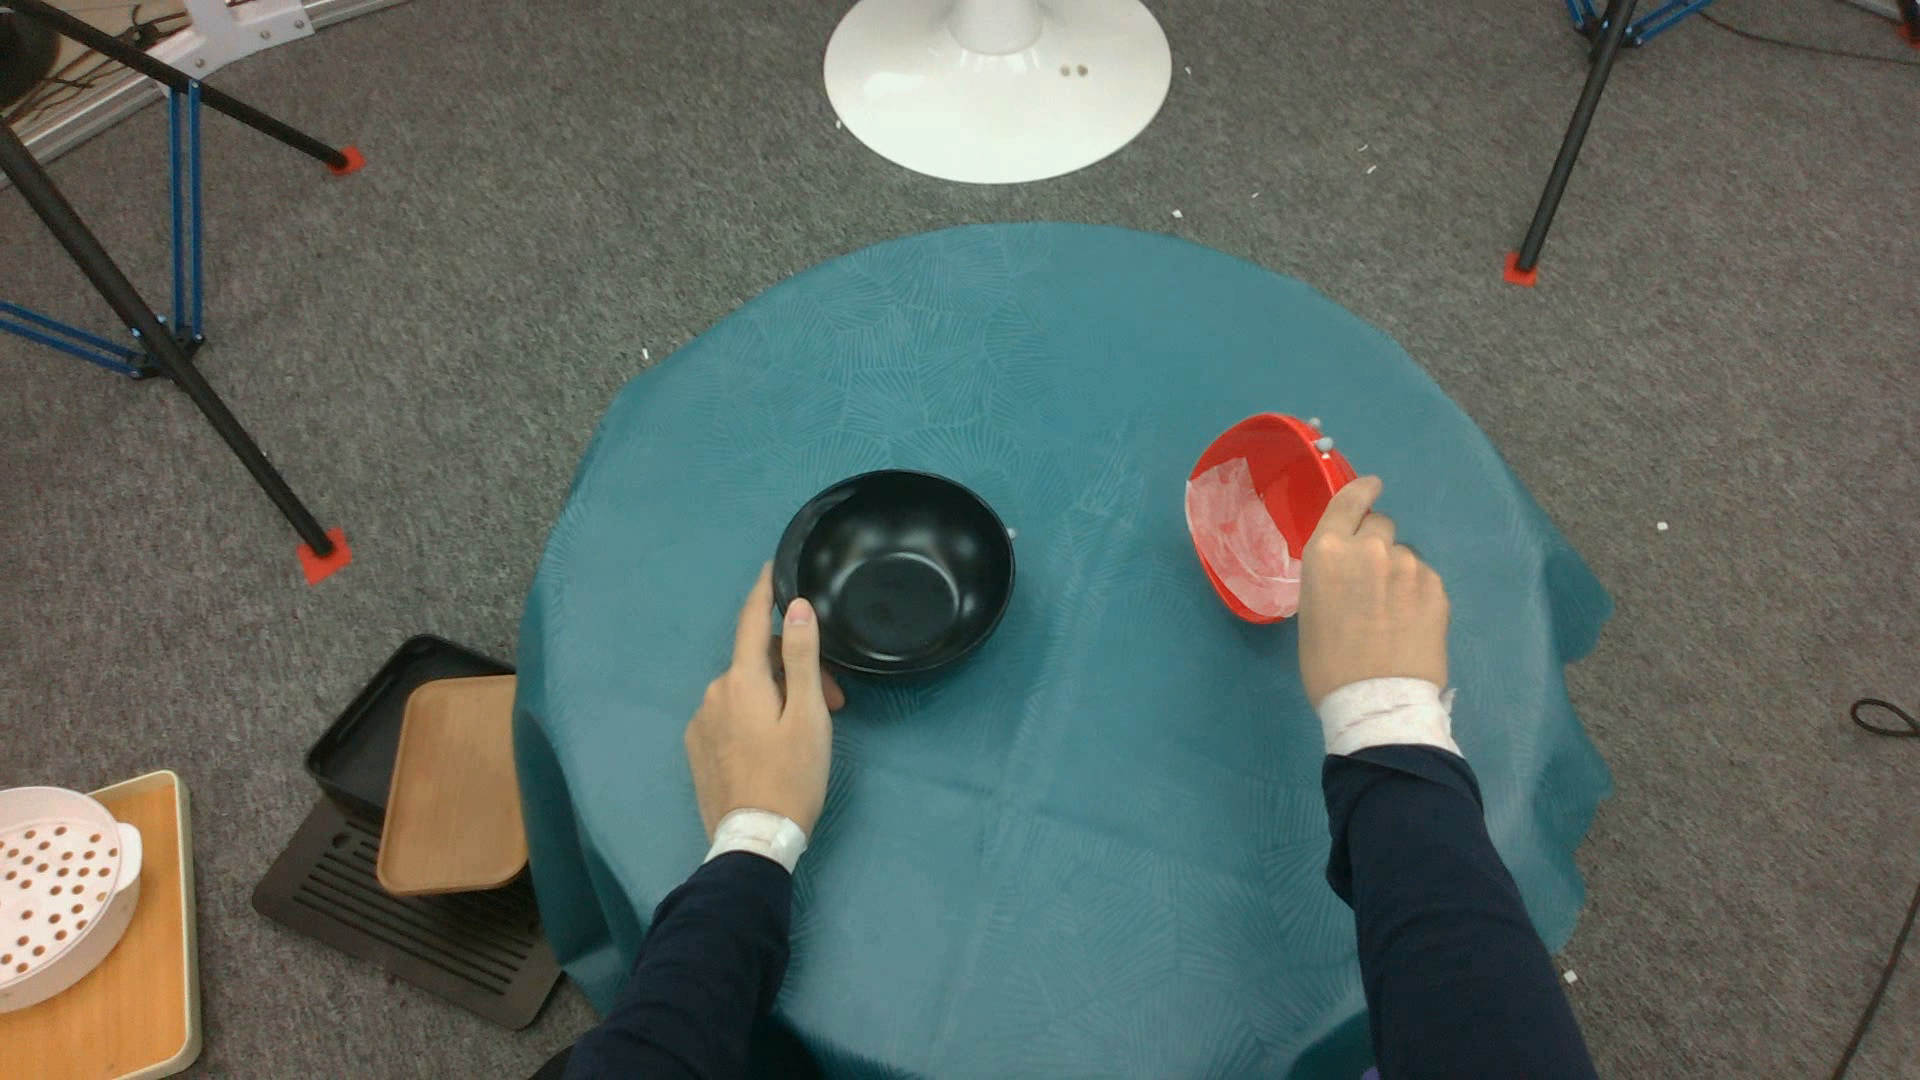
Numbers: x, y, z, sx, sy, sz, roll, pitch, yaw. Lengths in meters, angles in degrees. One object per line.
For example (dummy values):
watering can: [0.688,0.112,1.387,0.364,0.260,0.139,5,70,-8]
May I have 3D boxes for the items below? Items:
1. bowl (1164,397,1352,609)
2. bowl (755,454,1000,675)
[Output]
bowl: [0.175,-0.021,0.774,0.051,0.118,0.119,-2,50,-39]
bowl: [-0.047,0.021,0.799,0.140,0.049,0.140,0,61,0]
